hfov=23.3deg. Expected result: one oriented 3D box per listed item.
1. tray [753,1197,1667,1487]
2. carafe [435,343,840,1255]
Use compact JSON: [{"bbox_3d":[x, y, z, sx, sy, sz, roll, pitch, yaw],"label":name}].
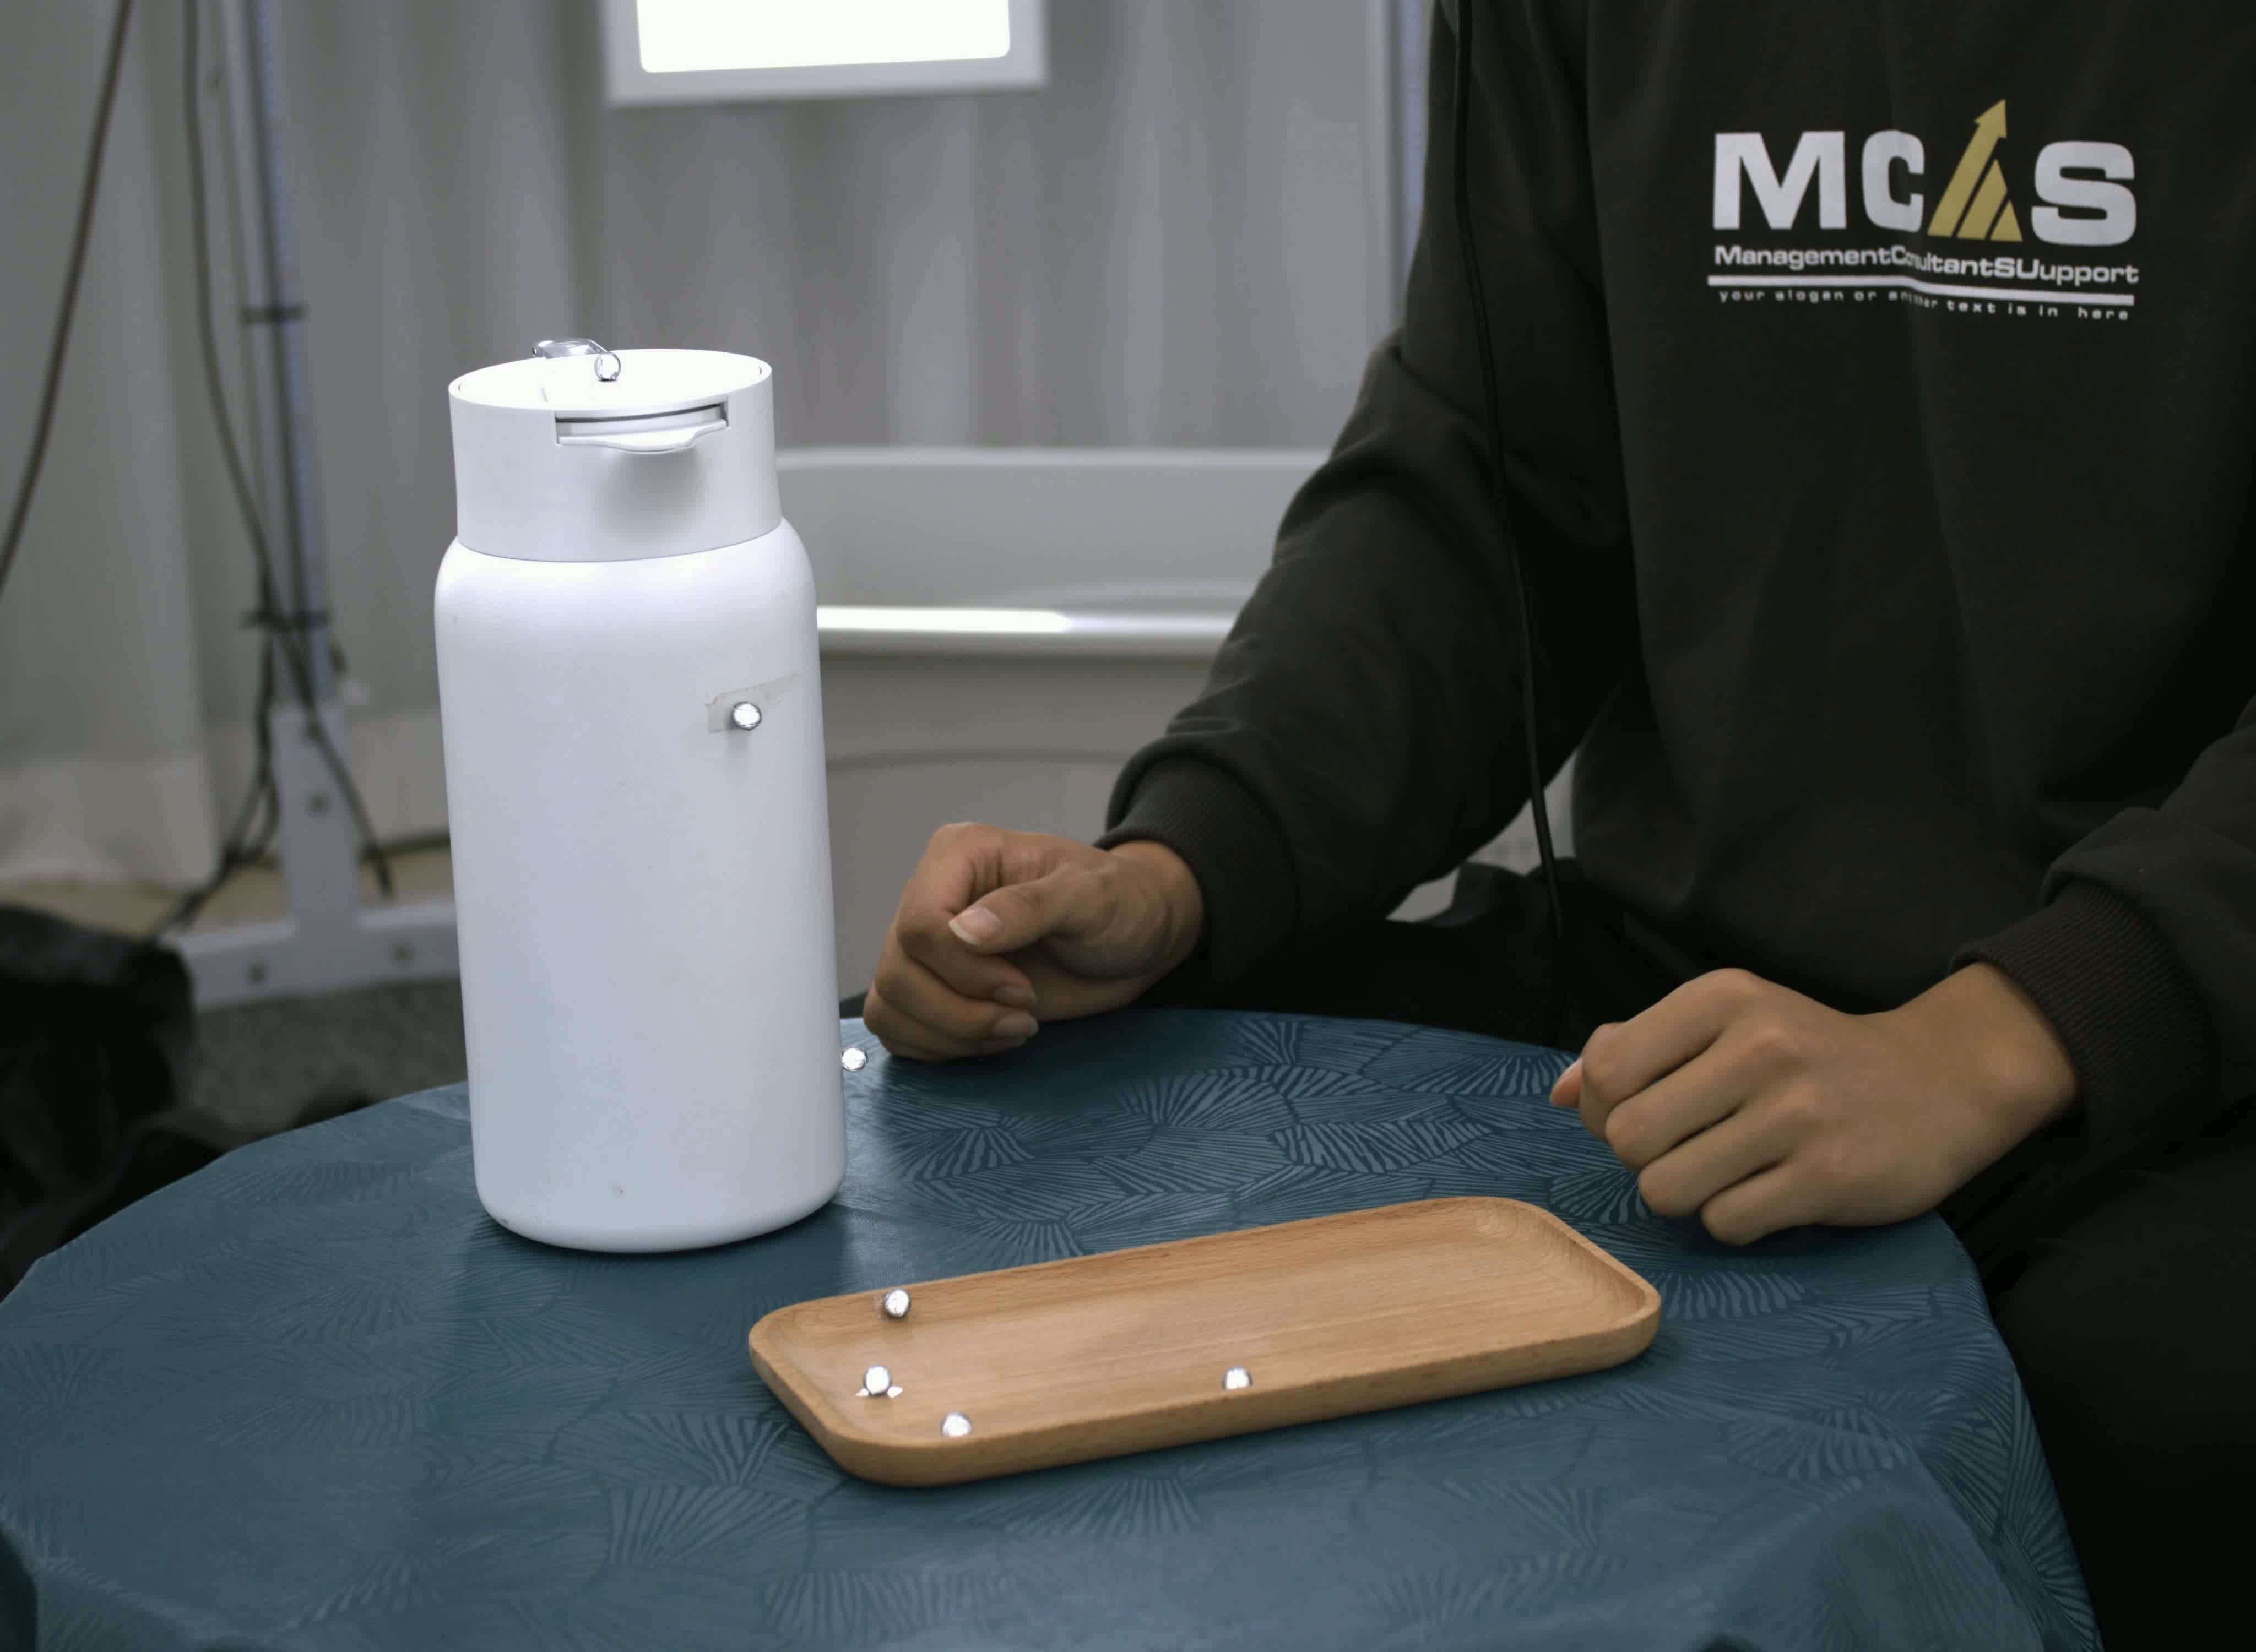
[{"bbox_3d":[0.023,0.147,1.565,0.249,0.023,0.132,-7,18,-18],"label":"tray"},{"bbox_3d":[-0.159,-0.013,1.713,0.123,0.268,0.174,-9,15,-18],"label":"carafe"}]
